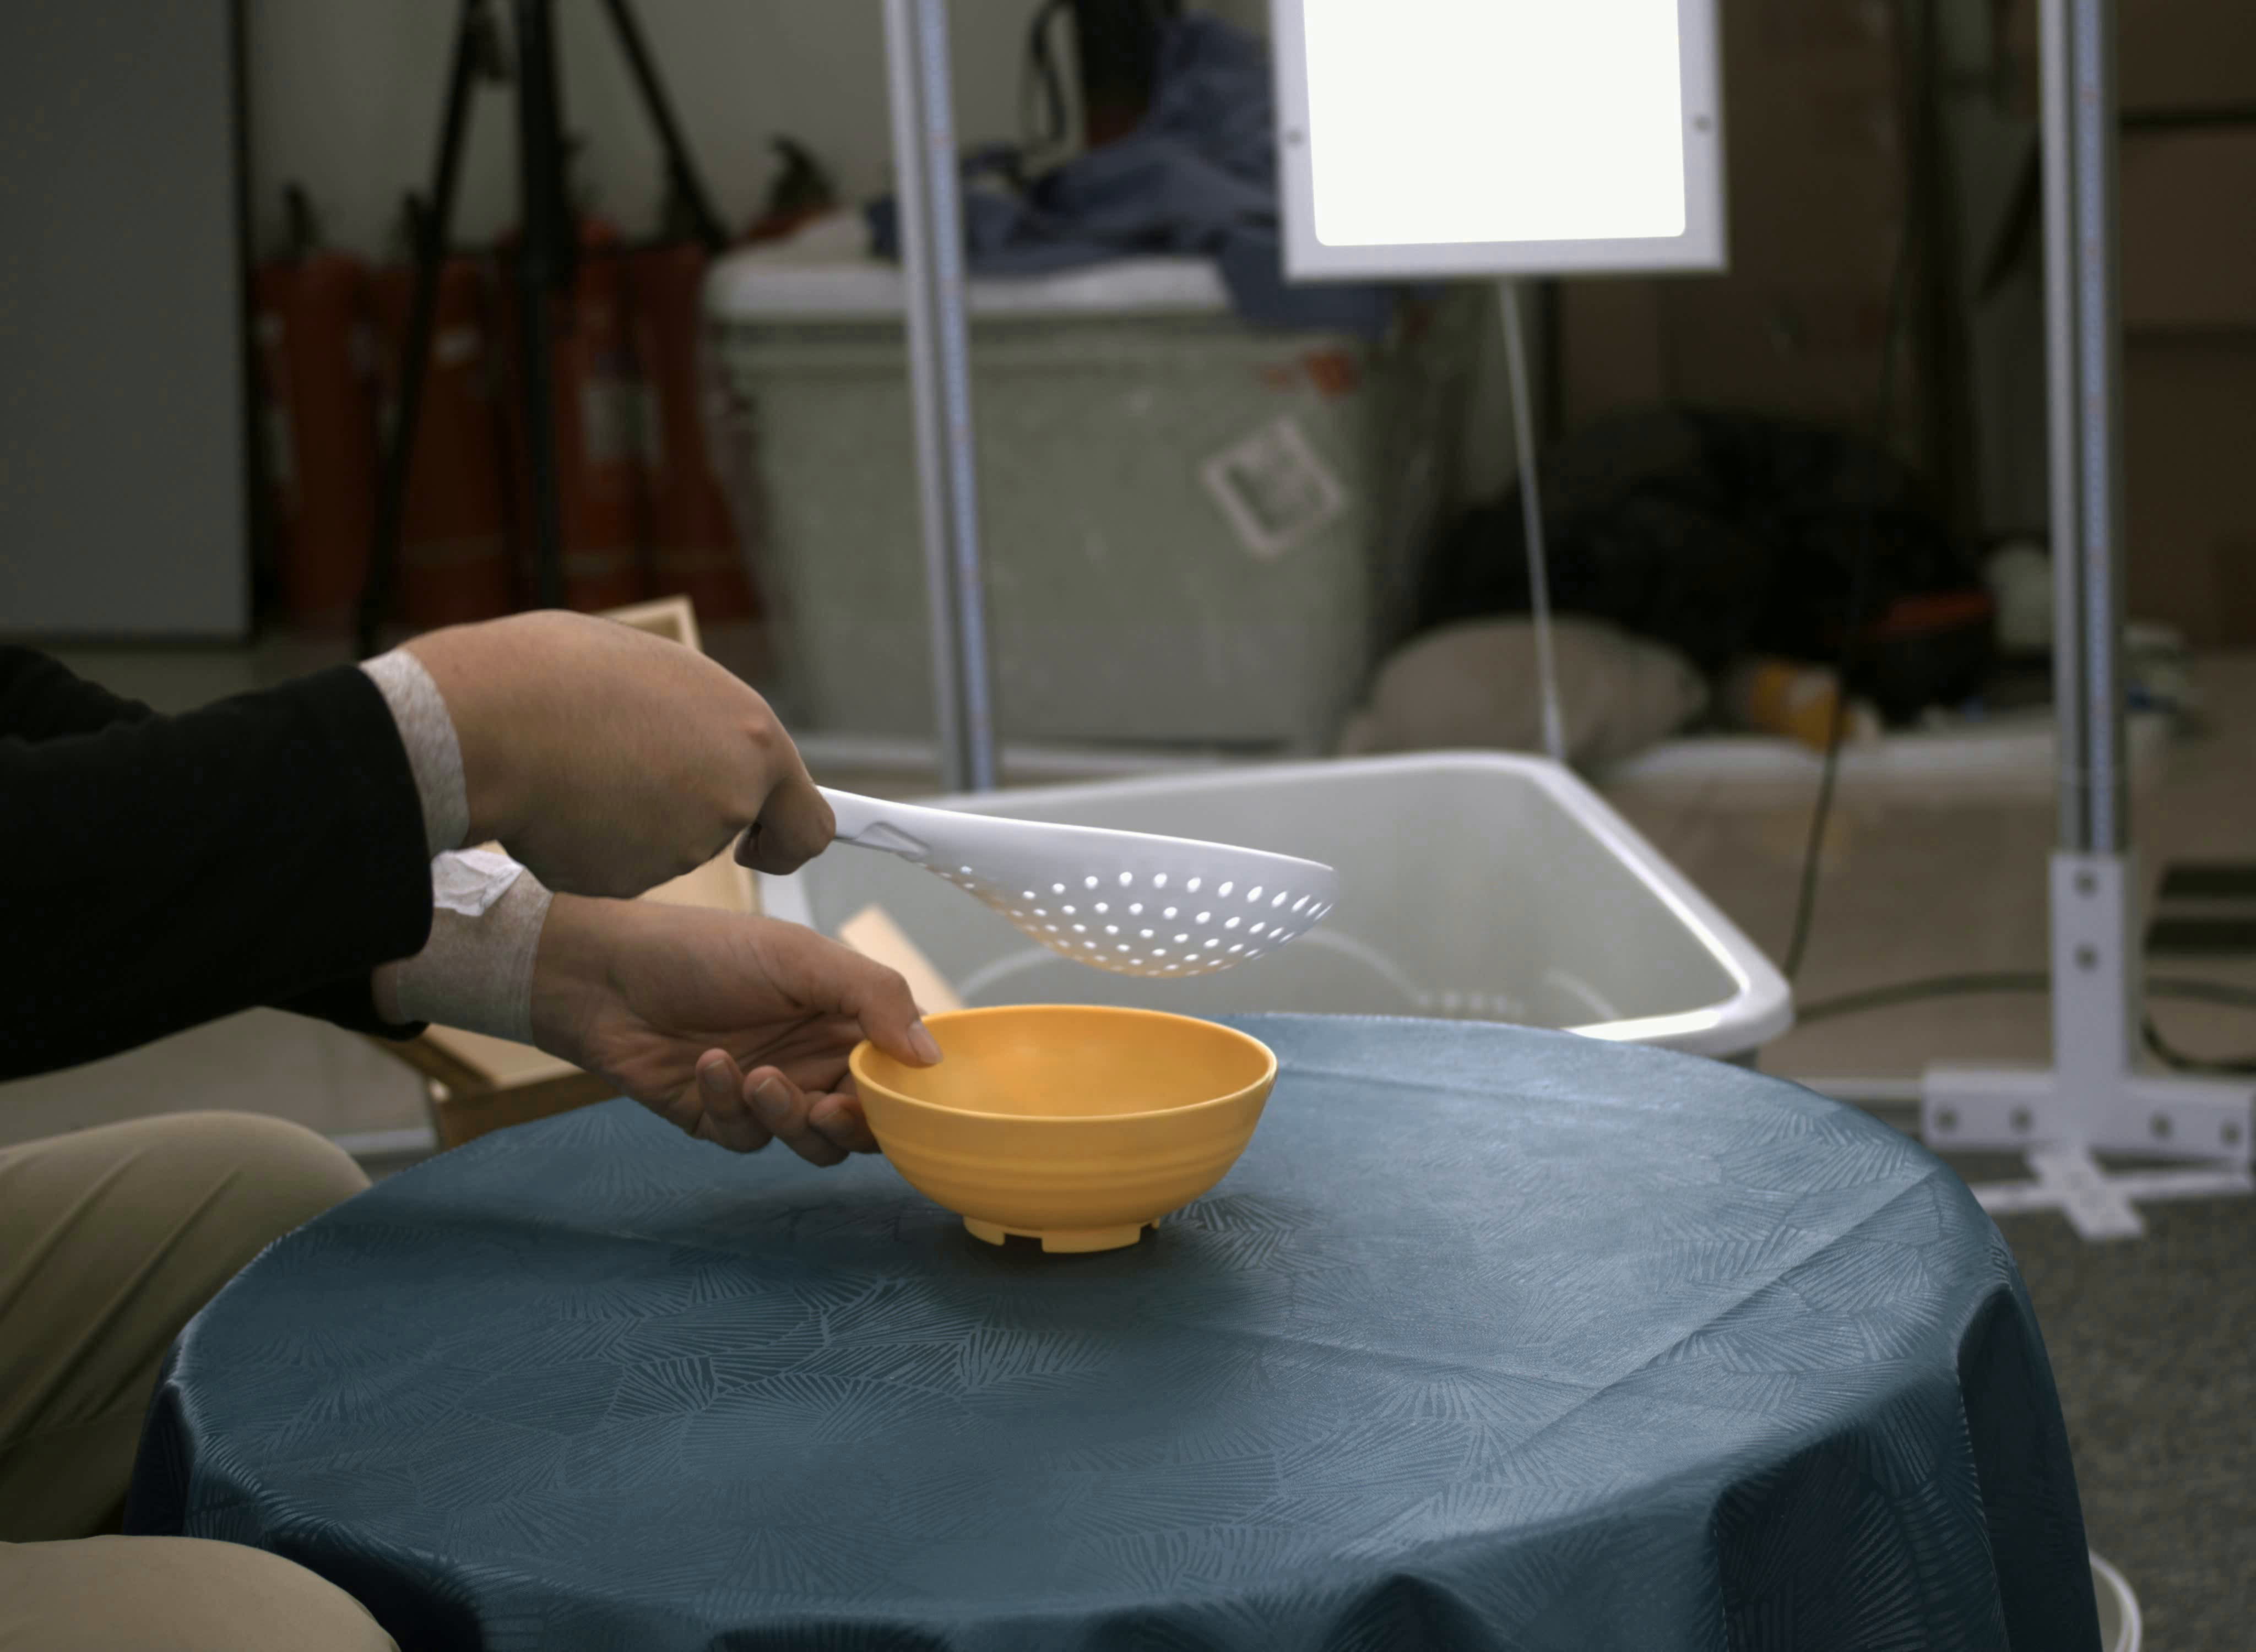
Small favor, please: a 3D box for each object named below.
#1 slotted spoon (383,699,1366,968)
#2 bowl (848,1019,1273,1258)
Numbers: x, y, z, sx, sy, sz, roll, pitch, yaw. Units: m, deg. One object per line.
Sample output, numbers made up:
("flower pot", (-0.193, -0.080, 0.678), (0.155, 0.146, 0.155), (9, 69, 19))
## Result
("slotted spoon", (-0.077, -0.003, 1.737), (0.342, 0.046, 0.139), (17, -8, -33))
("bowl", (-0.023, 0.108, 1.854), (0.145, 0.060, 0.145), (0, 11, -1))
